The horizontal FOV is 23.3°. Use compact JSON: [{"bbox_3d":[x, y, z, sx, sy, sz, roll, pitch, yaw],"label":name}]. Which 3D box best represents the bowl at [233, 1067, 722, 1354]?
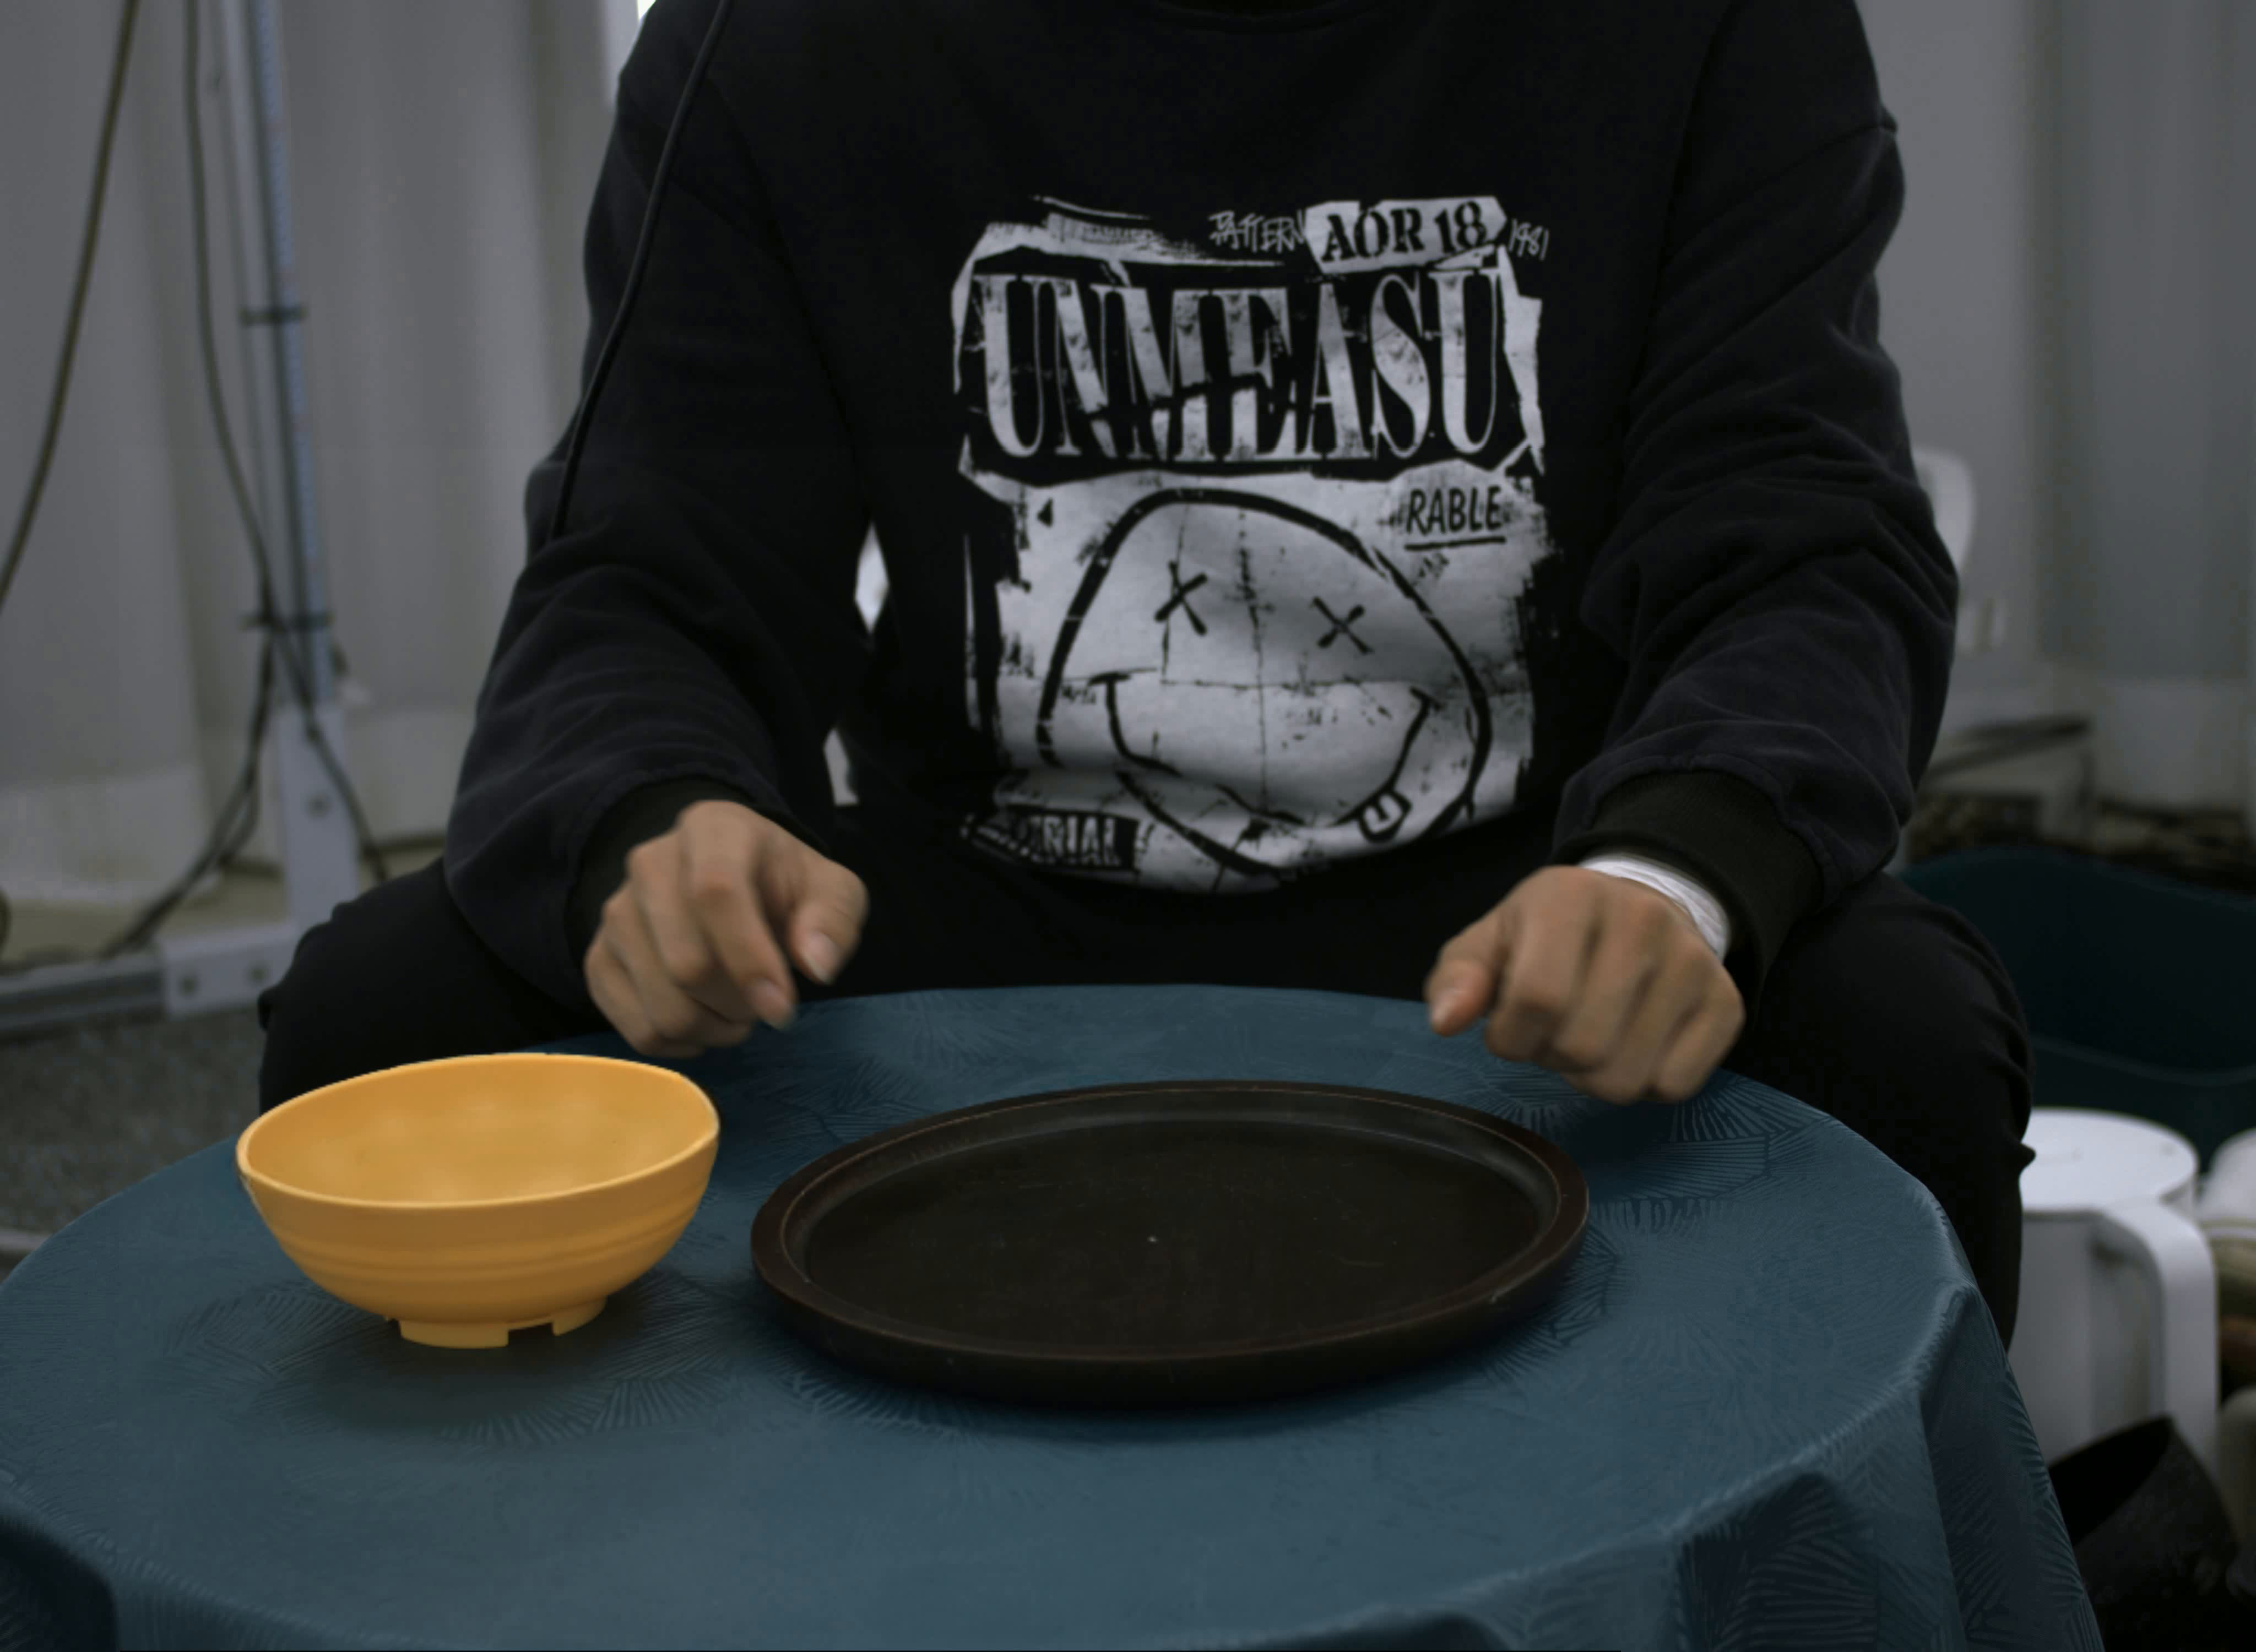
[{"bbox_3d":[-0.192,0.119,1.629,0.145,0.060,0.146,-1,13,0],"label":"bowl"}]

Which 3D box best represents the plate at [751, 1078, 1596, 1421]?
[{"bbox_3d":[0.013,0.124,1.634,0.254,0.029,0.256,-4,14,1],"label":"plate"}]
